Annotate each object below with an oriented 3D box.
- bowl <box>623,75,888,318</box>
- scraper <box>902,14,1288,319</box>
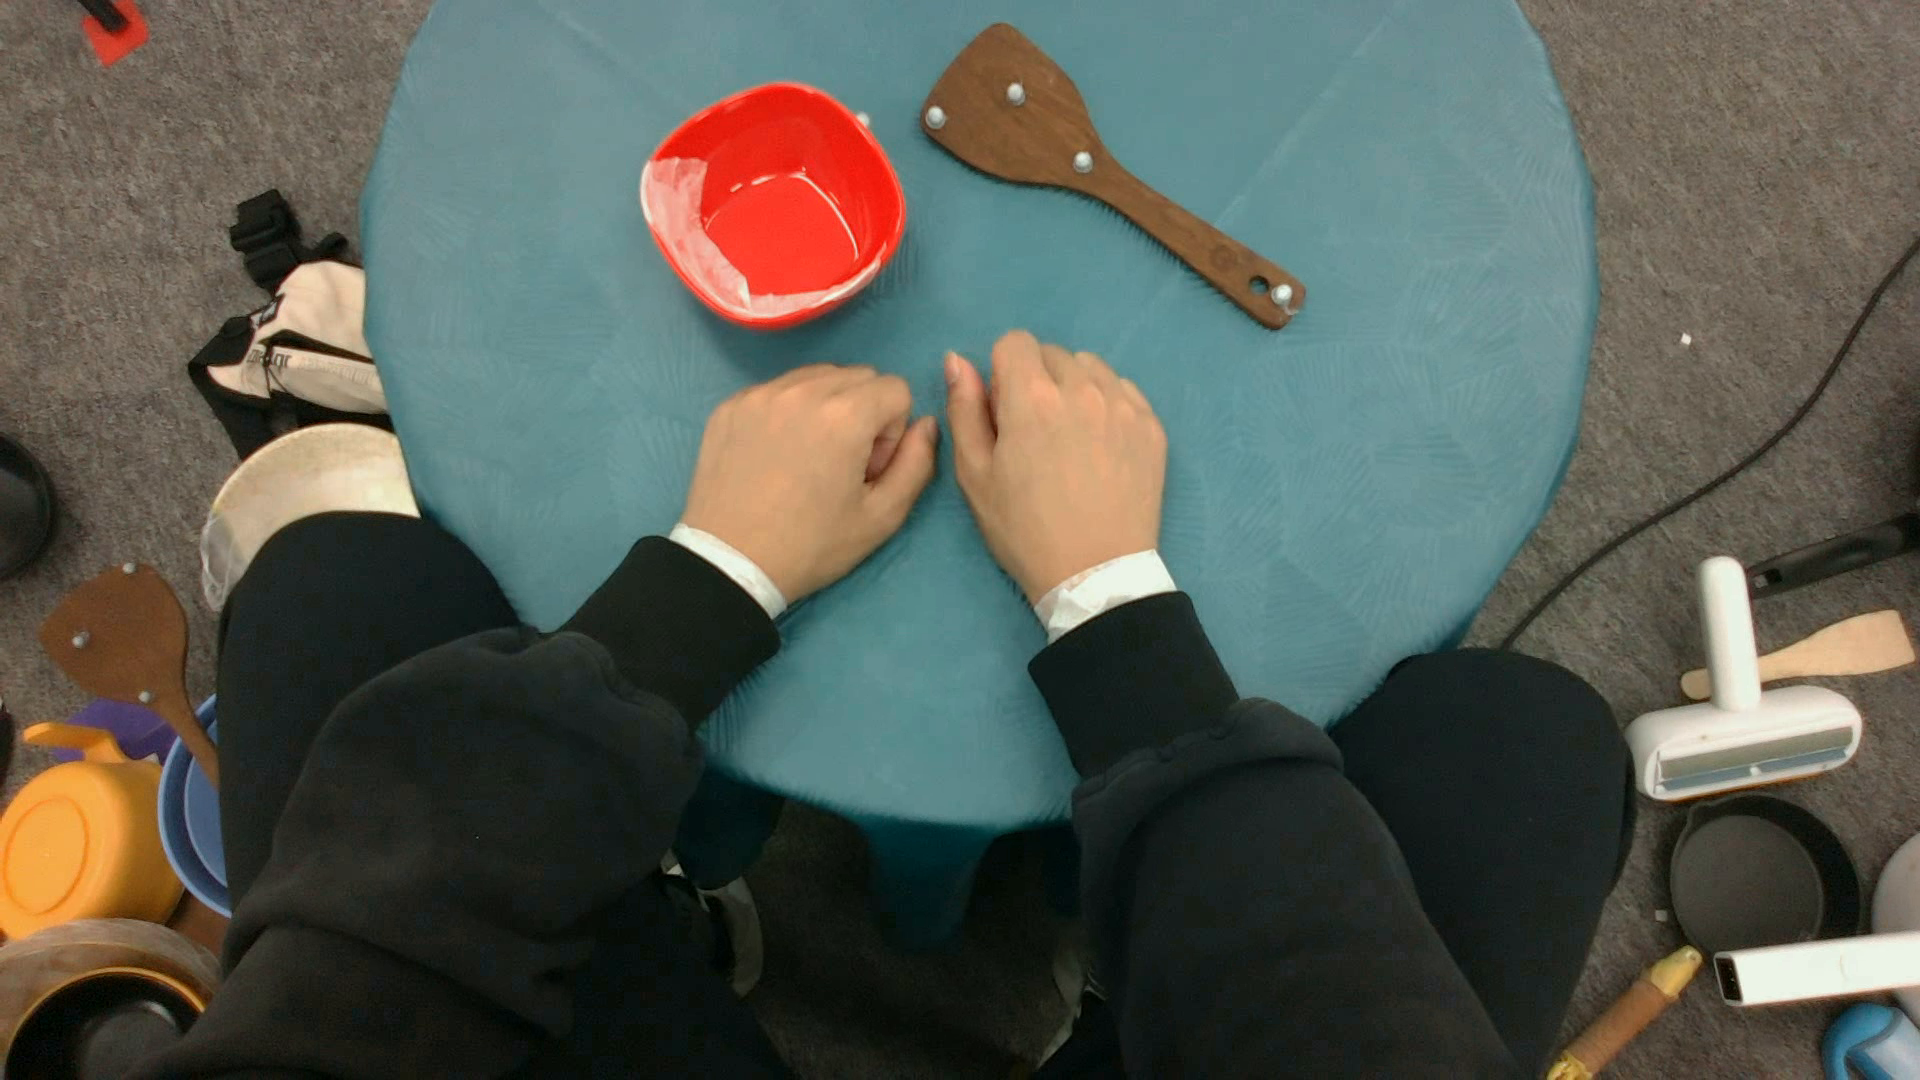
[{"bbox_3d":[-0.093,-0.151,0.641,0.119,0.051,0.119,1,73,-3],"label":"bowl"},{"bbox_3d":[0.070,-0.177,0.677,0.211,0.011,0.076,37,79,6],"label":"scraper"}]
